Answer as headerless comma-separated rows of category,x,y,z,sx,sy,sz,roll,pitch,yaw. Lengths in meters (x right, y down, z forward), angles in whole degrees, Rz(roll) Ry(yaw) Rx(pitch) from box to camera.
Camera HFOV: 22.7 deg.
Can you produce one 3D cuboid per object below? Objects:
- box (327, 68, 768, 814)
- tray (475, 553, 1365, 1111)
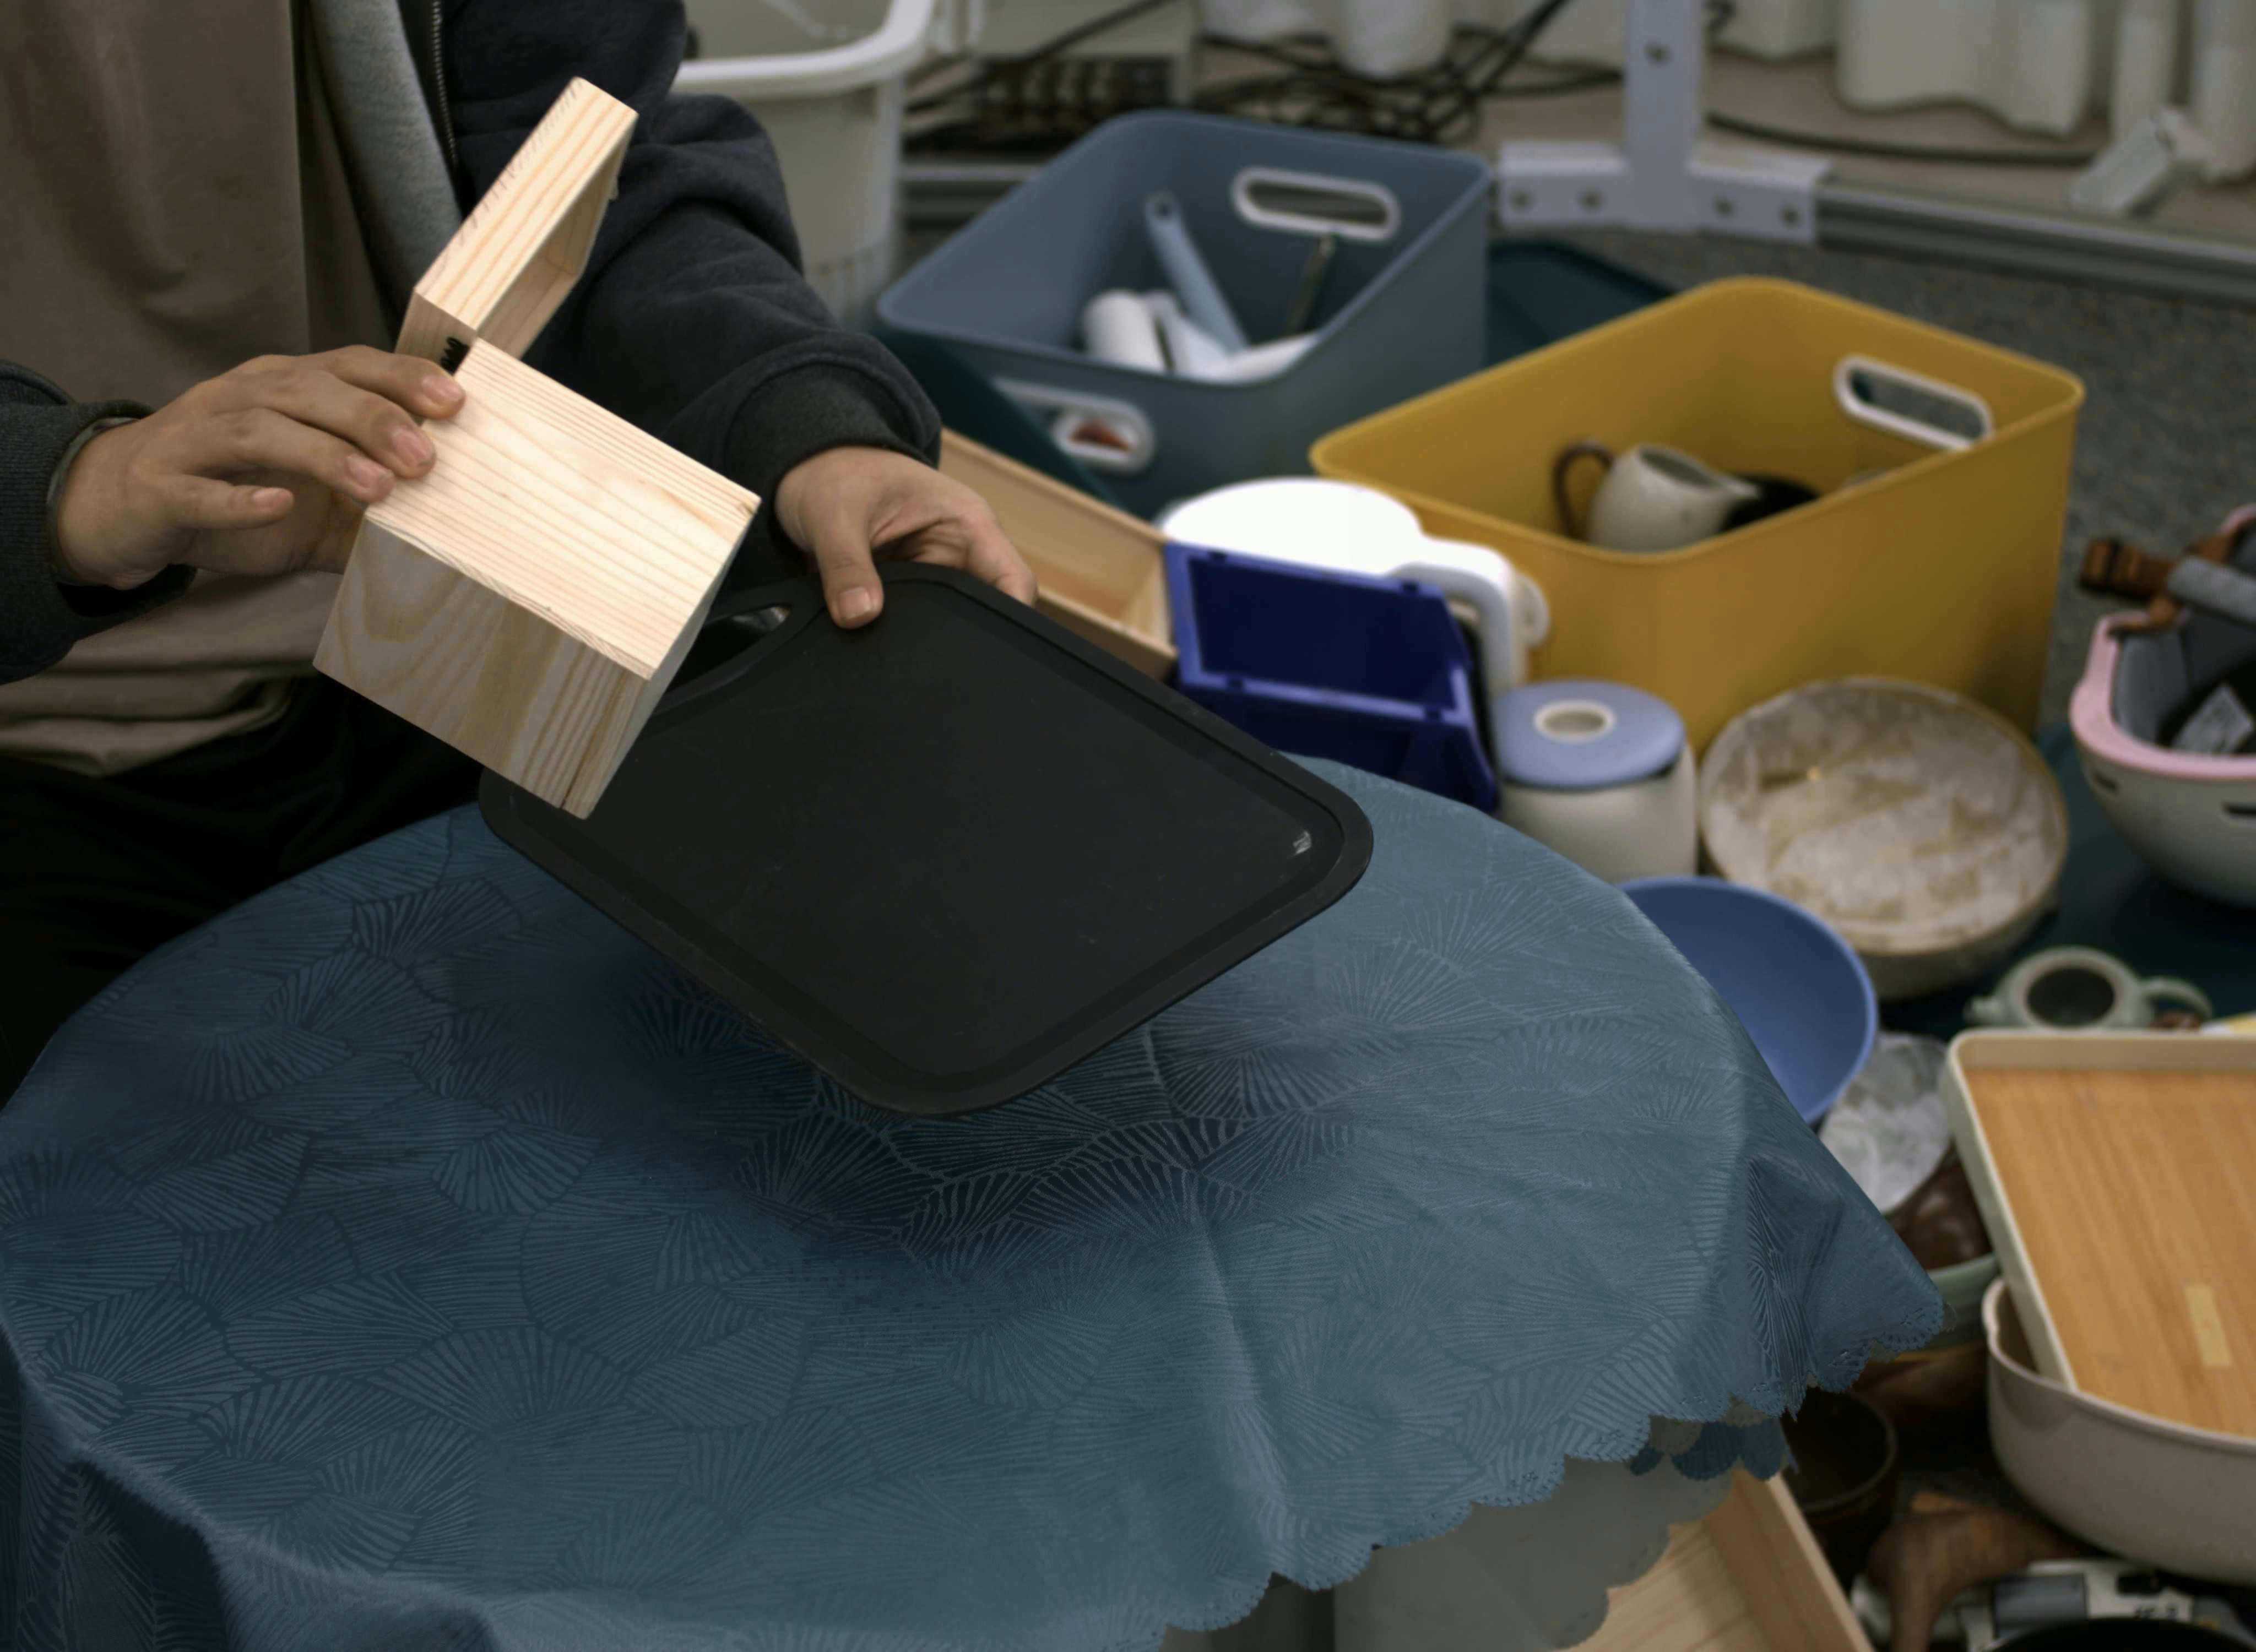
box,-0.171,-0.123,1.800,0.133,0.101,0.188,29,59,-2
tray,-0.082,-0.008,1.939,0.213,0.009,0.326,-30,39,-25
